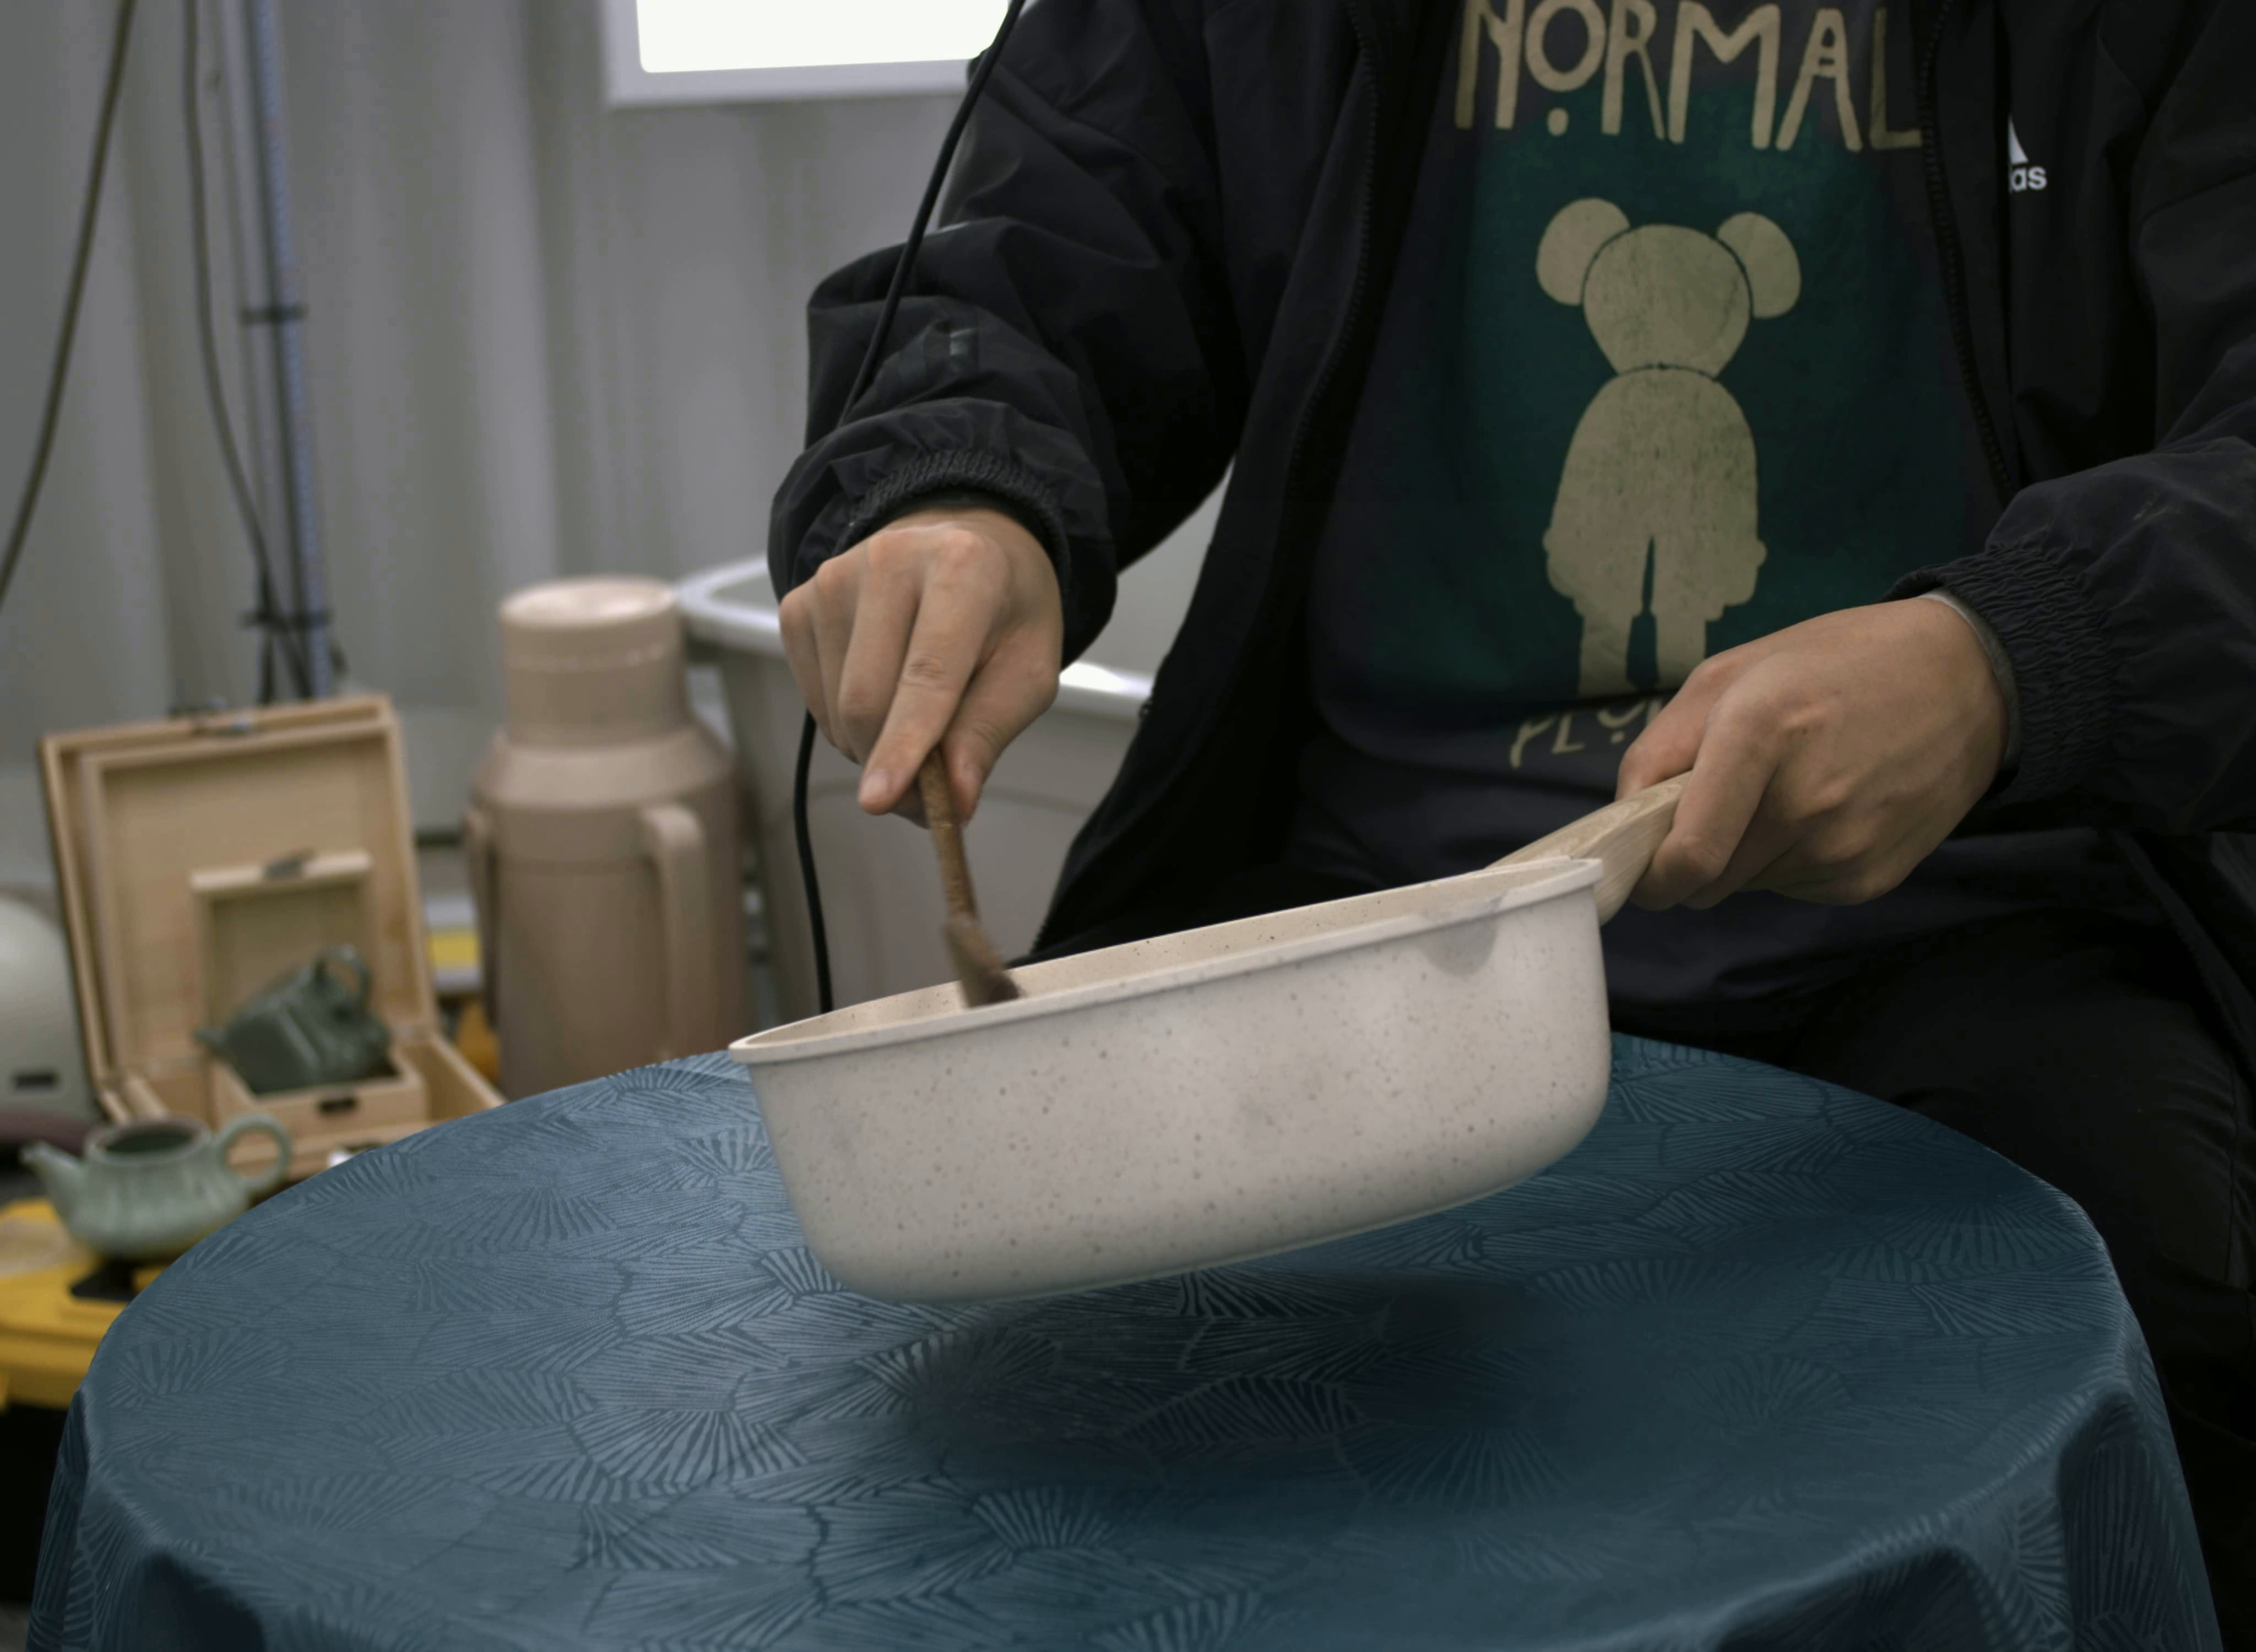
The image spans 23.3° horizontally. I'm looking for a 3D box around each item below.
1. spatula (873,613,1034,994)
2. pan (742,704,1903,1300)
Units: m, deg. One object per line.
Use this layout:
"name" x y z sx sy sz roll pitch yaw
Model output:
"spatula" -0.049 0.010 1.646 0.016 0.095 0.390 -17 24 -2
"pan" 0.089 0.048 1.589 0.433 0.102 0.263 -13 0 -40
